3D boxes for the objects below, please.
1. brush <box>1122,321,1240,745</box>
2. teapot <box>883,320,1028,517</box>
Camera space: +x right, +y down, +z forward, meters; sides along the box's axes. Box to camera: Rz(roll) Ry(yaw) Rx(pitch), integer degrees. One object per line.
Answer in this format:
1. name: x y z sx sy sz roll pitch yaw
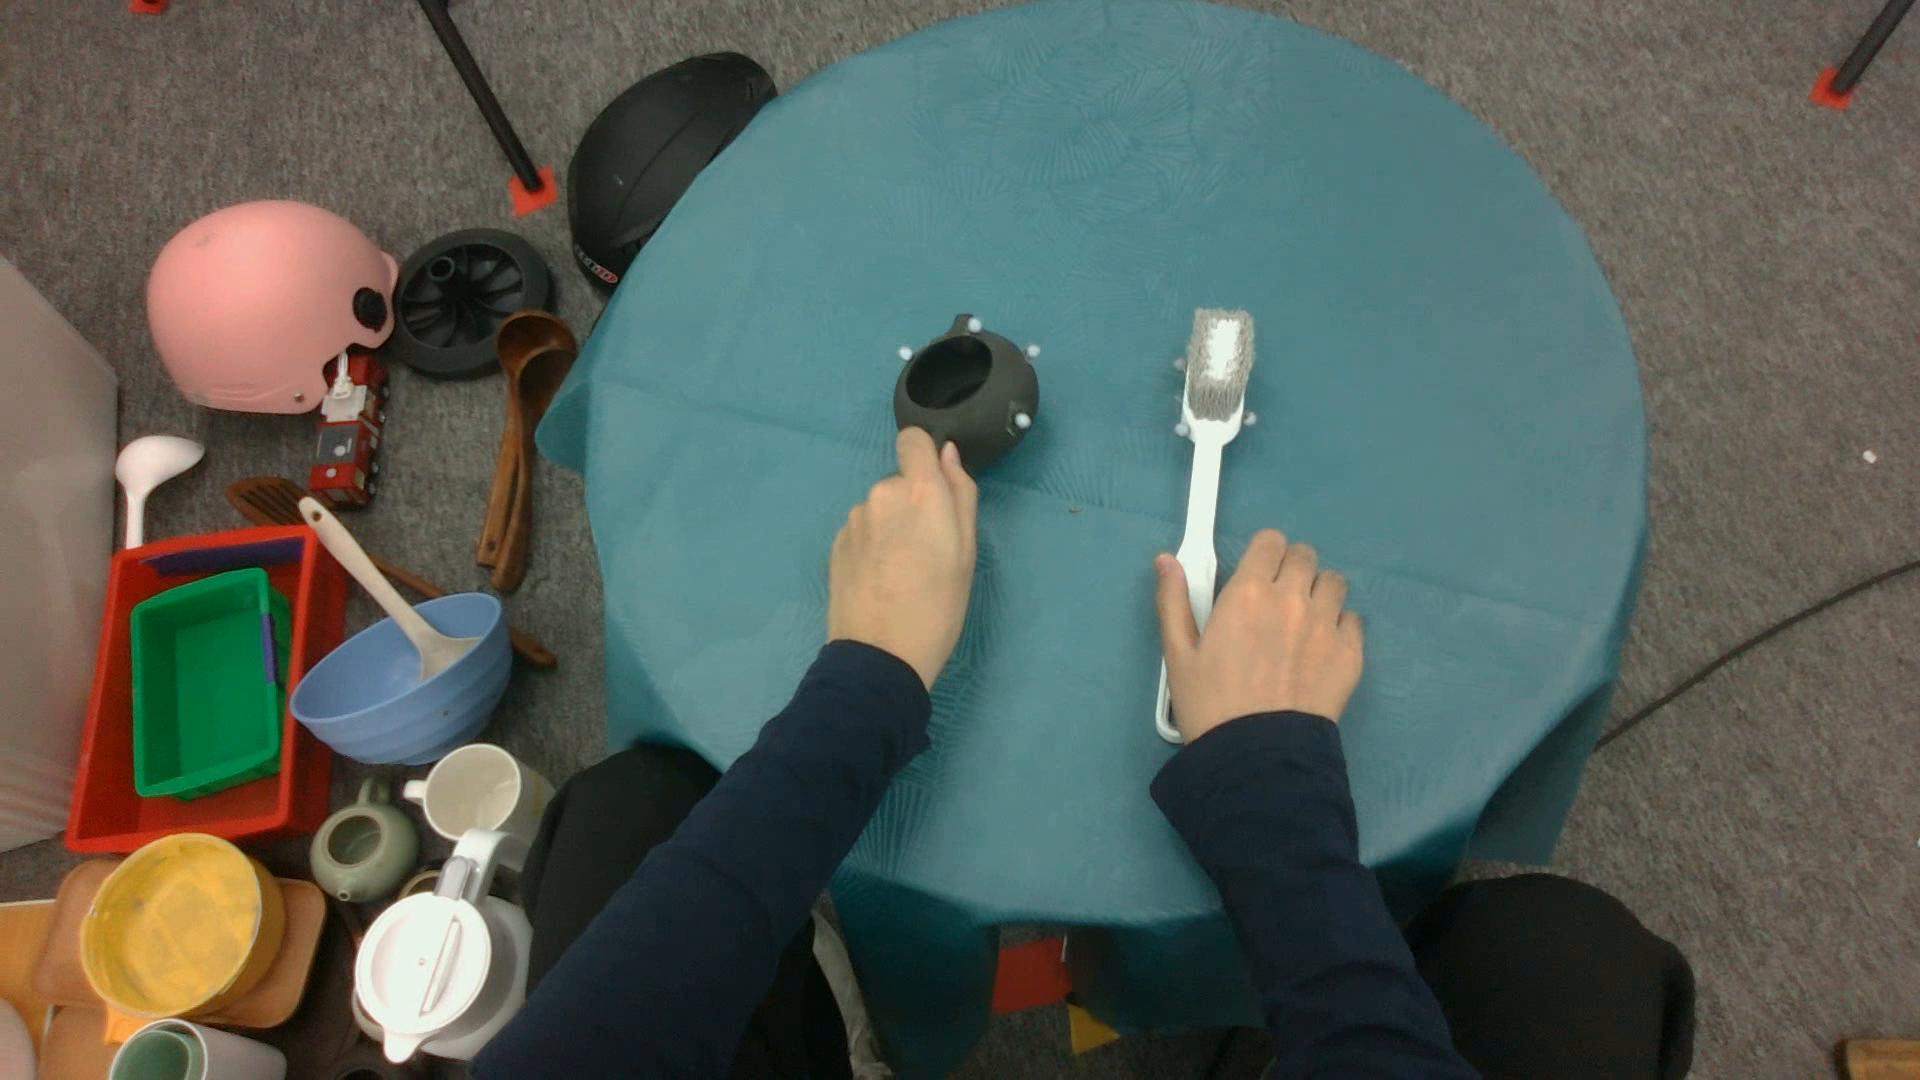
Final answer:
1. brush: 0.119 -0.012 0.742 0.034 0.050 0.244 11 67 6
2. teapot: -0.006 -0.065 0.766 0.083 0.053 0.114 -2 58 24
